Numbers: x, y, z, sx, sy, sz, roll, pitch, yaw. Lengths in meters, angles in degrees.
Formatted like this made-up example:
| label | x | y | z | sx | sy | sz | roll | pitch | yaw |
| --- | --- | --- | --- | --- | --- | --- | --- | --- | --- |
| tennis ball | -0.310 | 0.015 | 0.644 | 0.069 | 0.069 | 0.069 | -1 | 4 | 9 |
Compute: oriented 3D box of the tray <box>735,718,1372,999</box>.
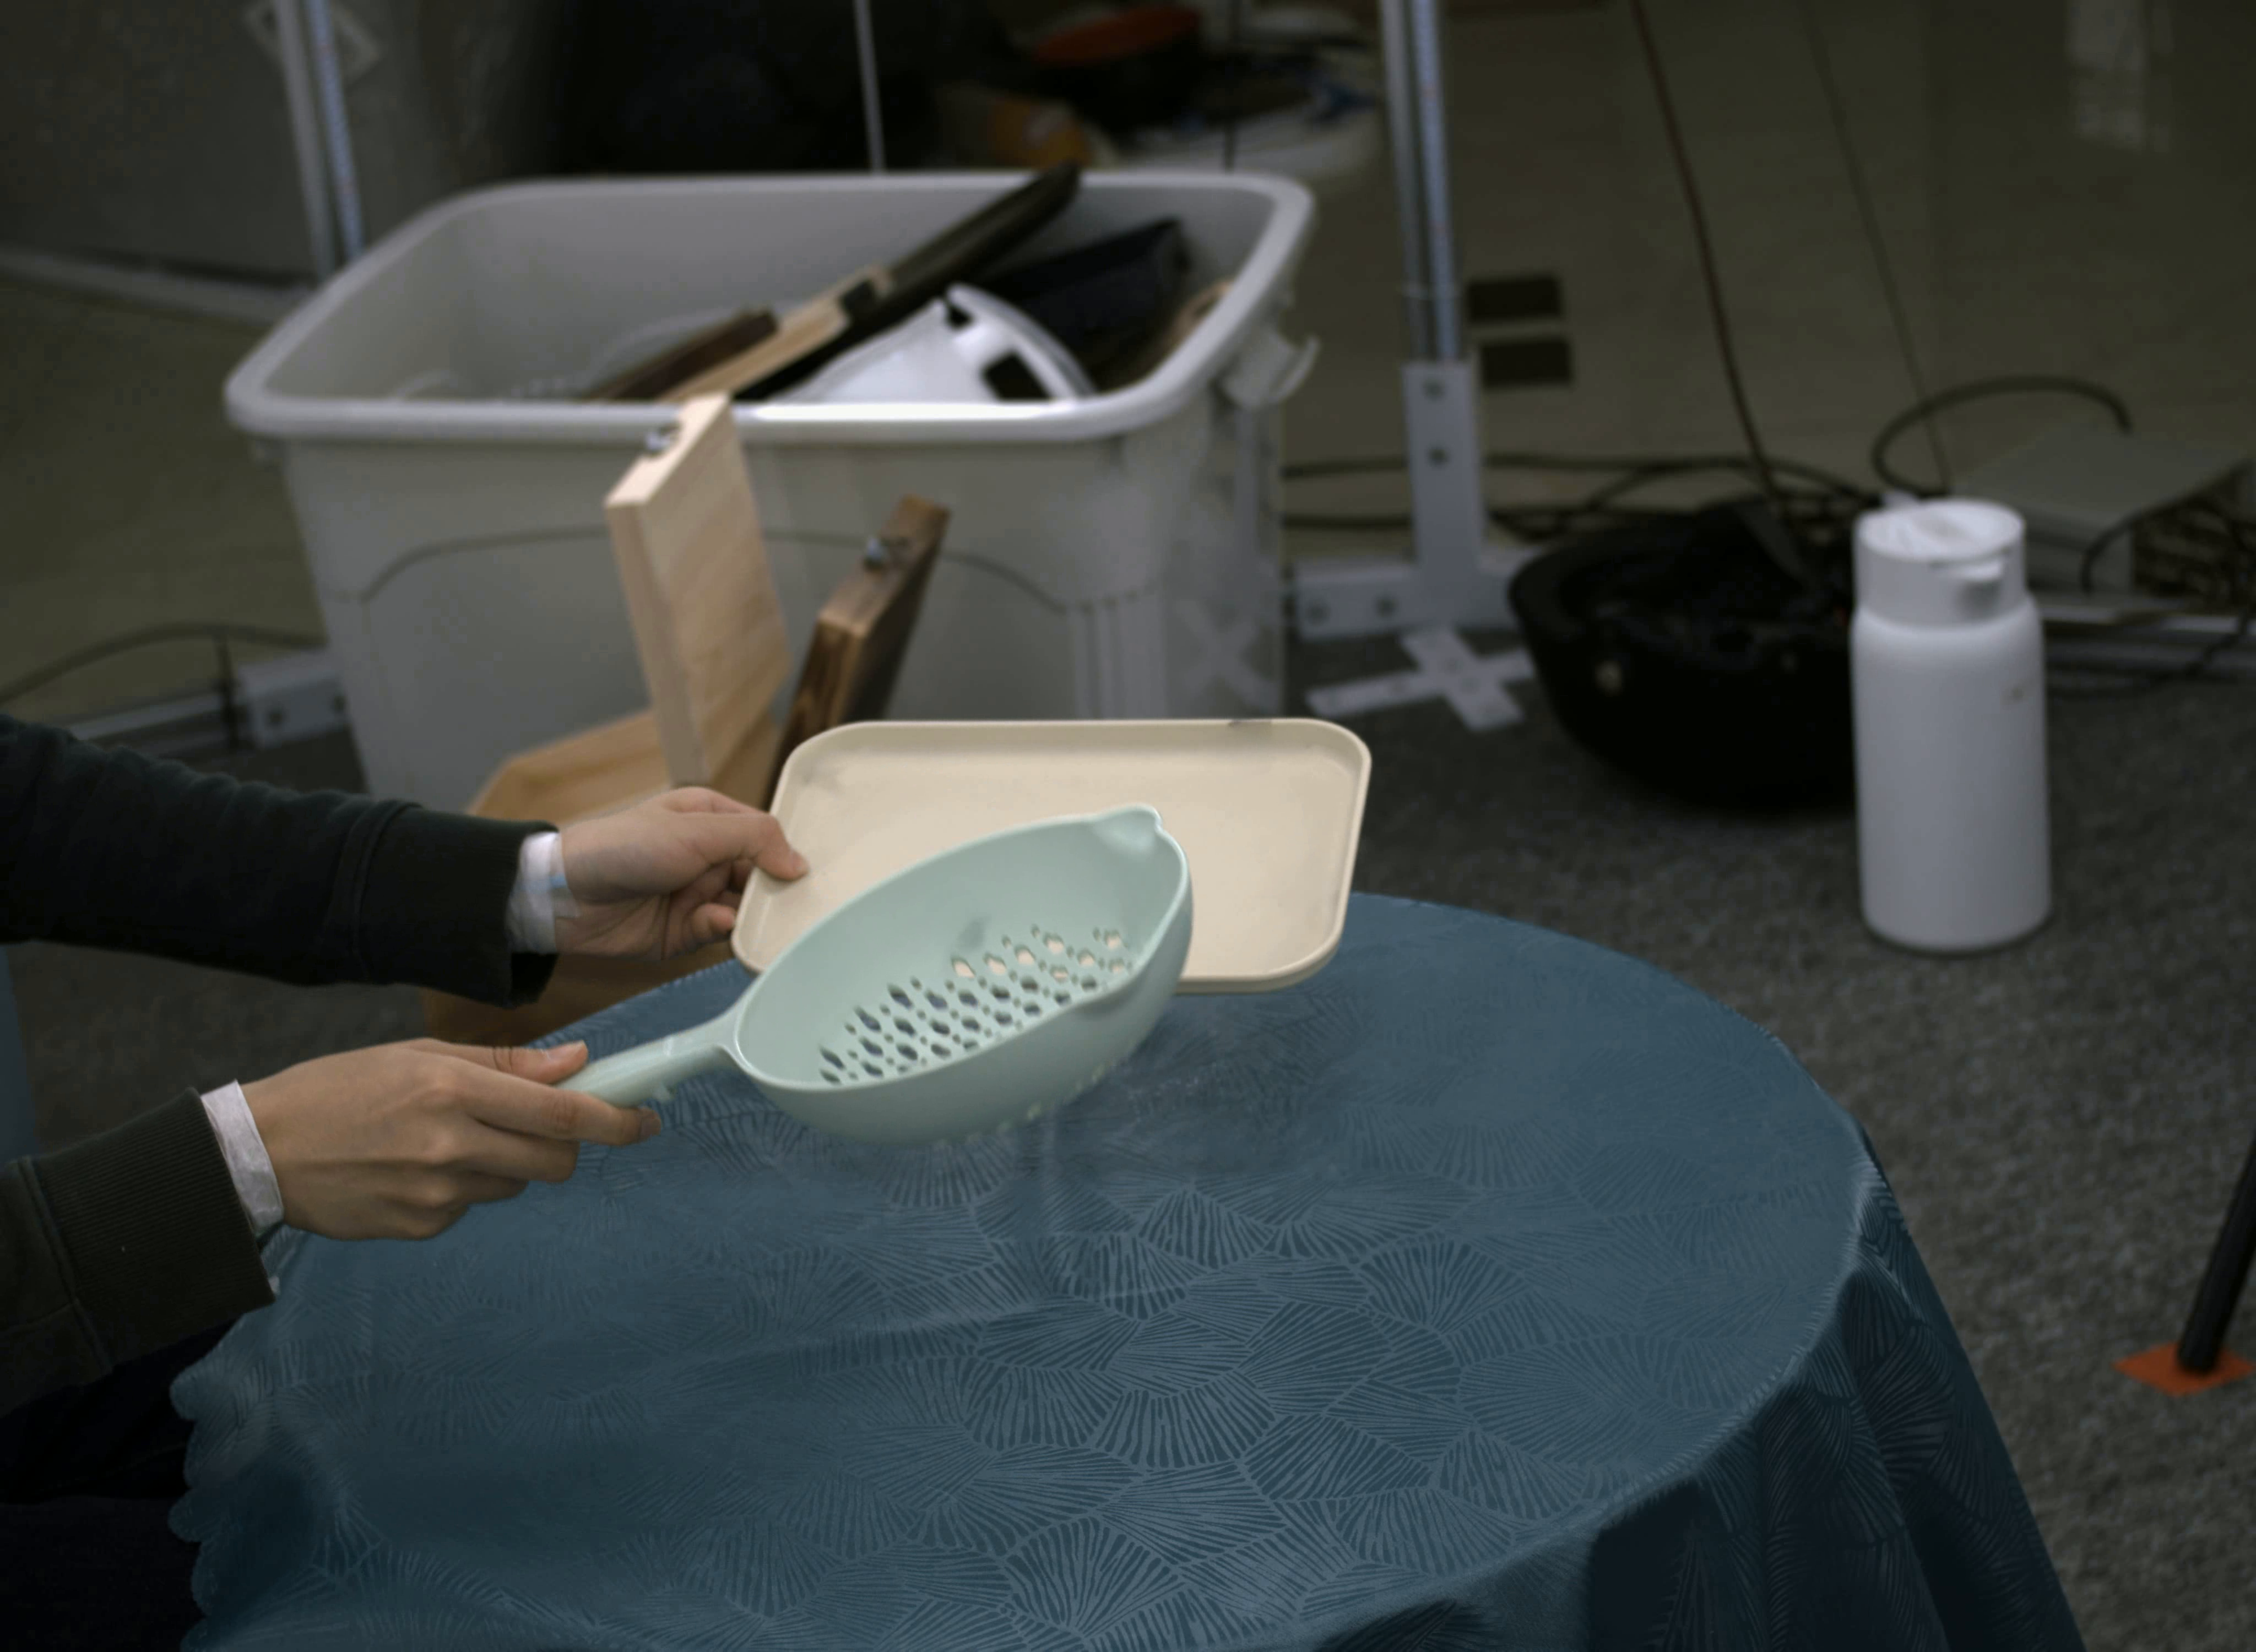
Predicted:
| label | x | y | z | sx | sy | sz | roll | pitch | yaw |
| --- | --- | --- | --- | --- | --- | --- | --- | --- | --- |
| tray | -0.027 | 0.015 | 2.214 | 0.239 | 0.018 | 0.168 | -1 | 37 | 10 |

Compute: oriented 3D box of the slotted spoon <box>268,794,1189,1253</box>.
| label | x | y | z | sx | sy | sz | roll | pitch | yaw |
| --- | --- | --- | --- | --- | --- | --- | --- | --- | --- |
| slotted spoon | -0.145 | 0.082 | 1.988 | 0.358 | 0.076 | 0.167 | -12 | 25 | 9 |
